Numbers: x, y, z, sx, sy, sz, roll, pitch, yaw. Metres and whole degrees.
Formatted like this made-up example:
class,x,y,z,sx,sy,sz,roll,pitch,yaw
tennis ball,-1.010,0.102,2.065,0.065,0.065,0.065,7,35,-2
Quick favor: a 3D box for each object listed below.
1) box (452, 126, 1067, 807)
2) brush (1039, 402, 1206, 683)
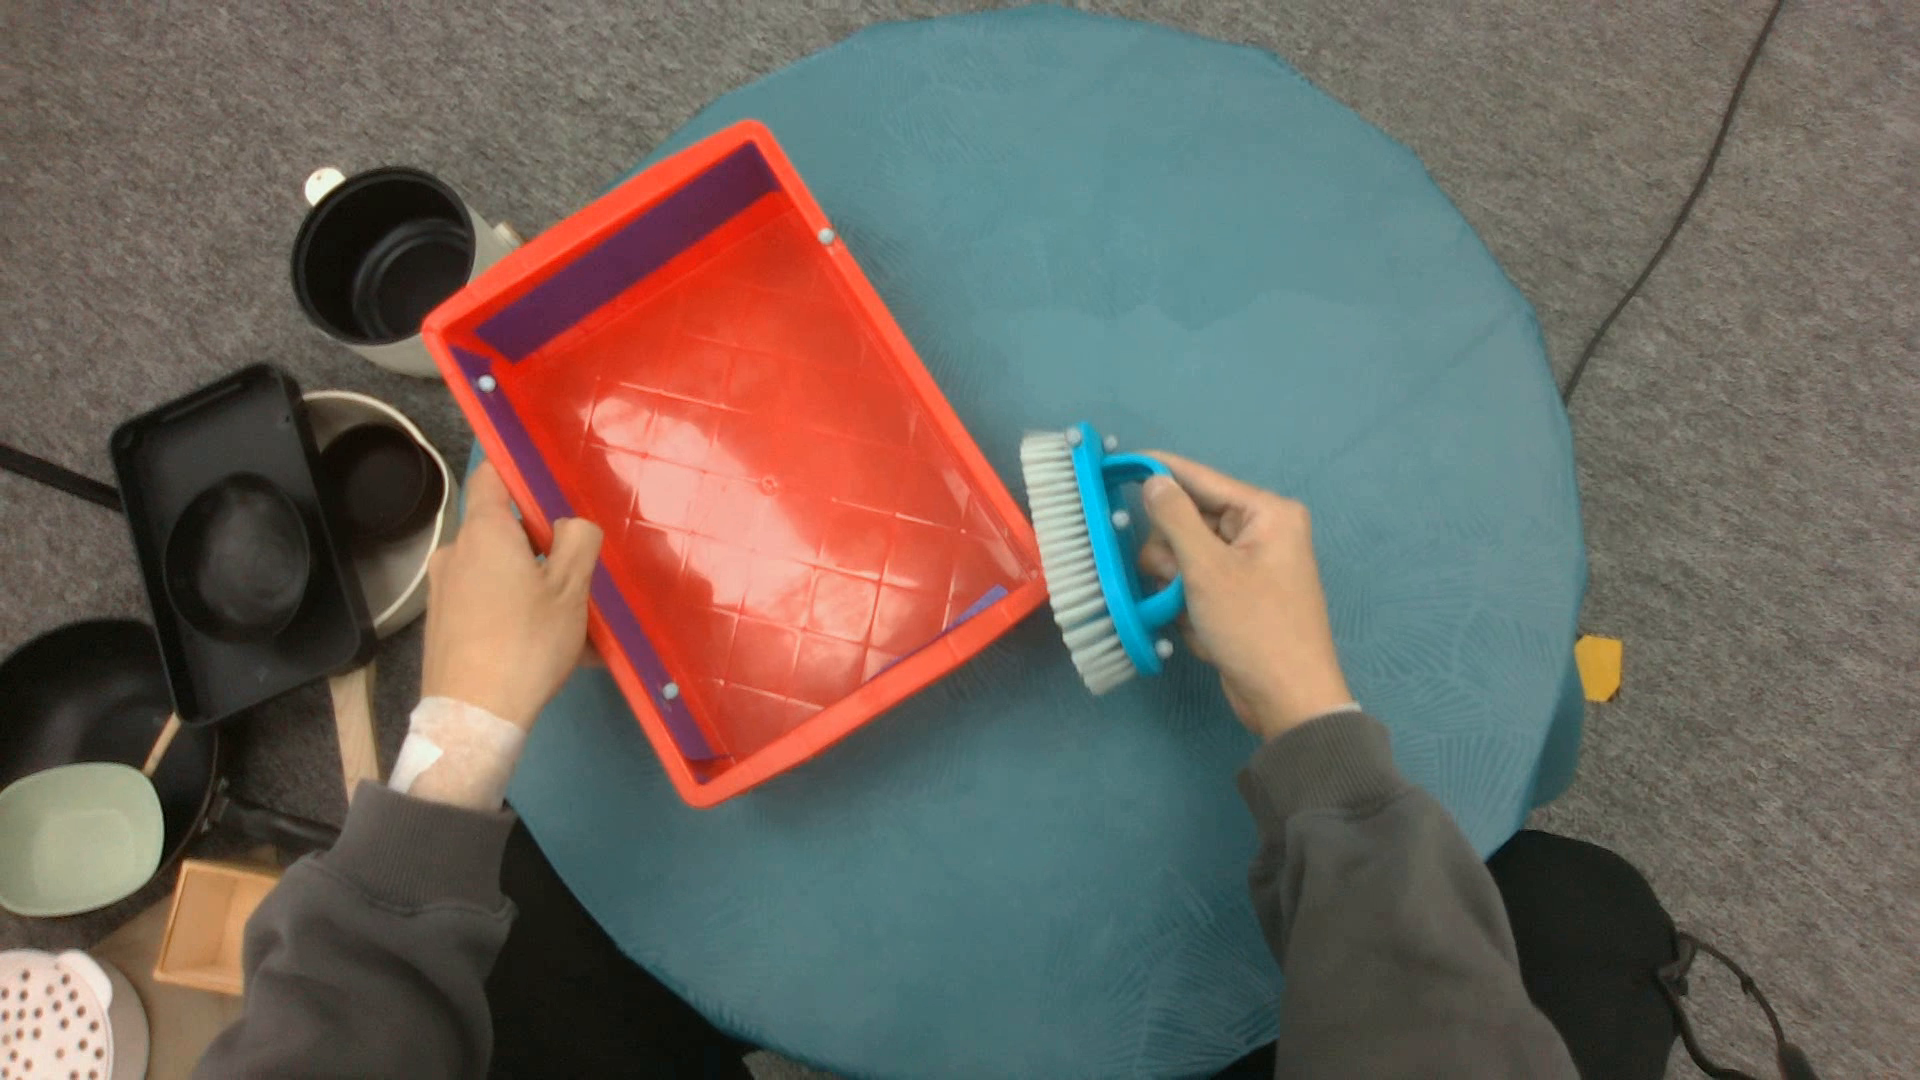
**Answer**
class,x,y,z,sx,sy,sz,roll,pitch,yaw
box,-0.100,-0.036,0.723,0.206,0.096,0.304,-31,76,0
brush,0.082,-0.003,0.662,0.063,0.084,0.142,-16,54,13
